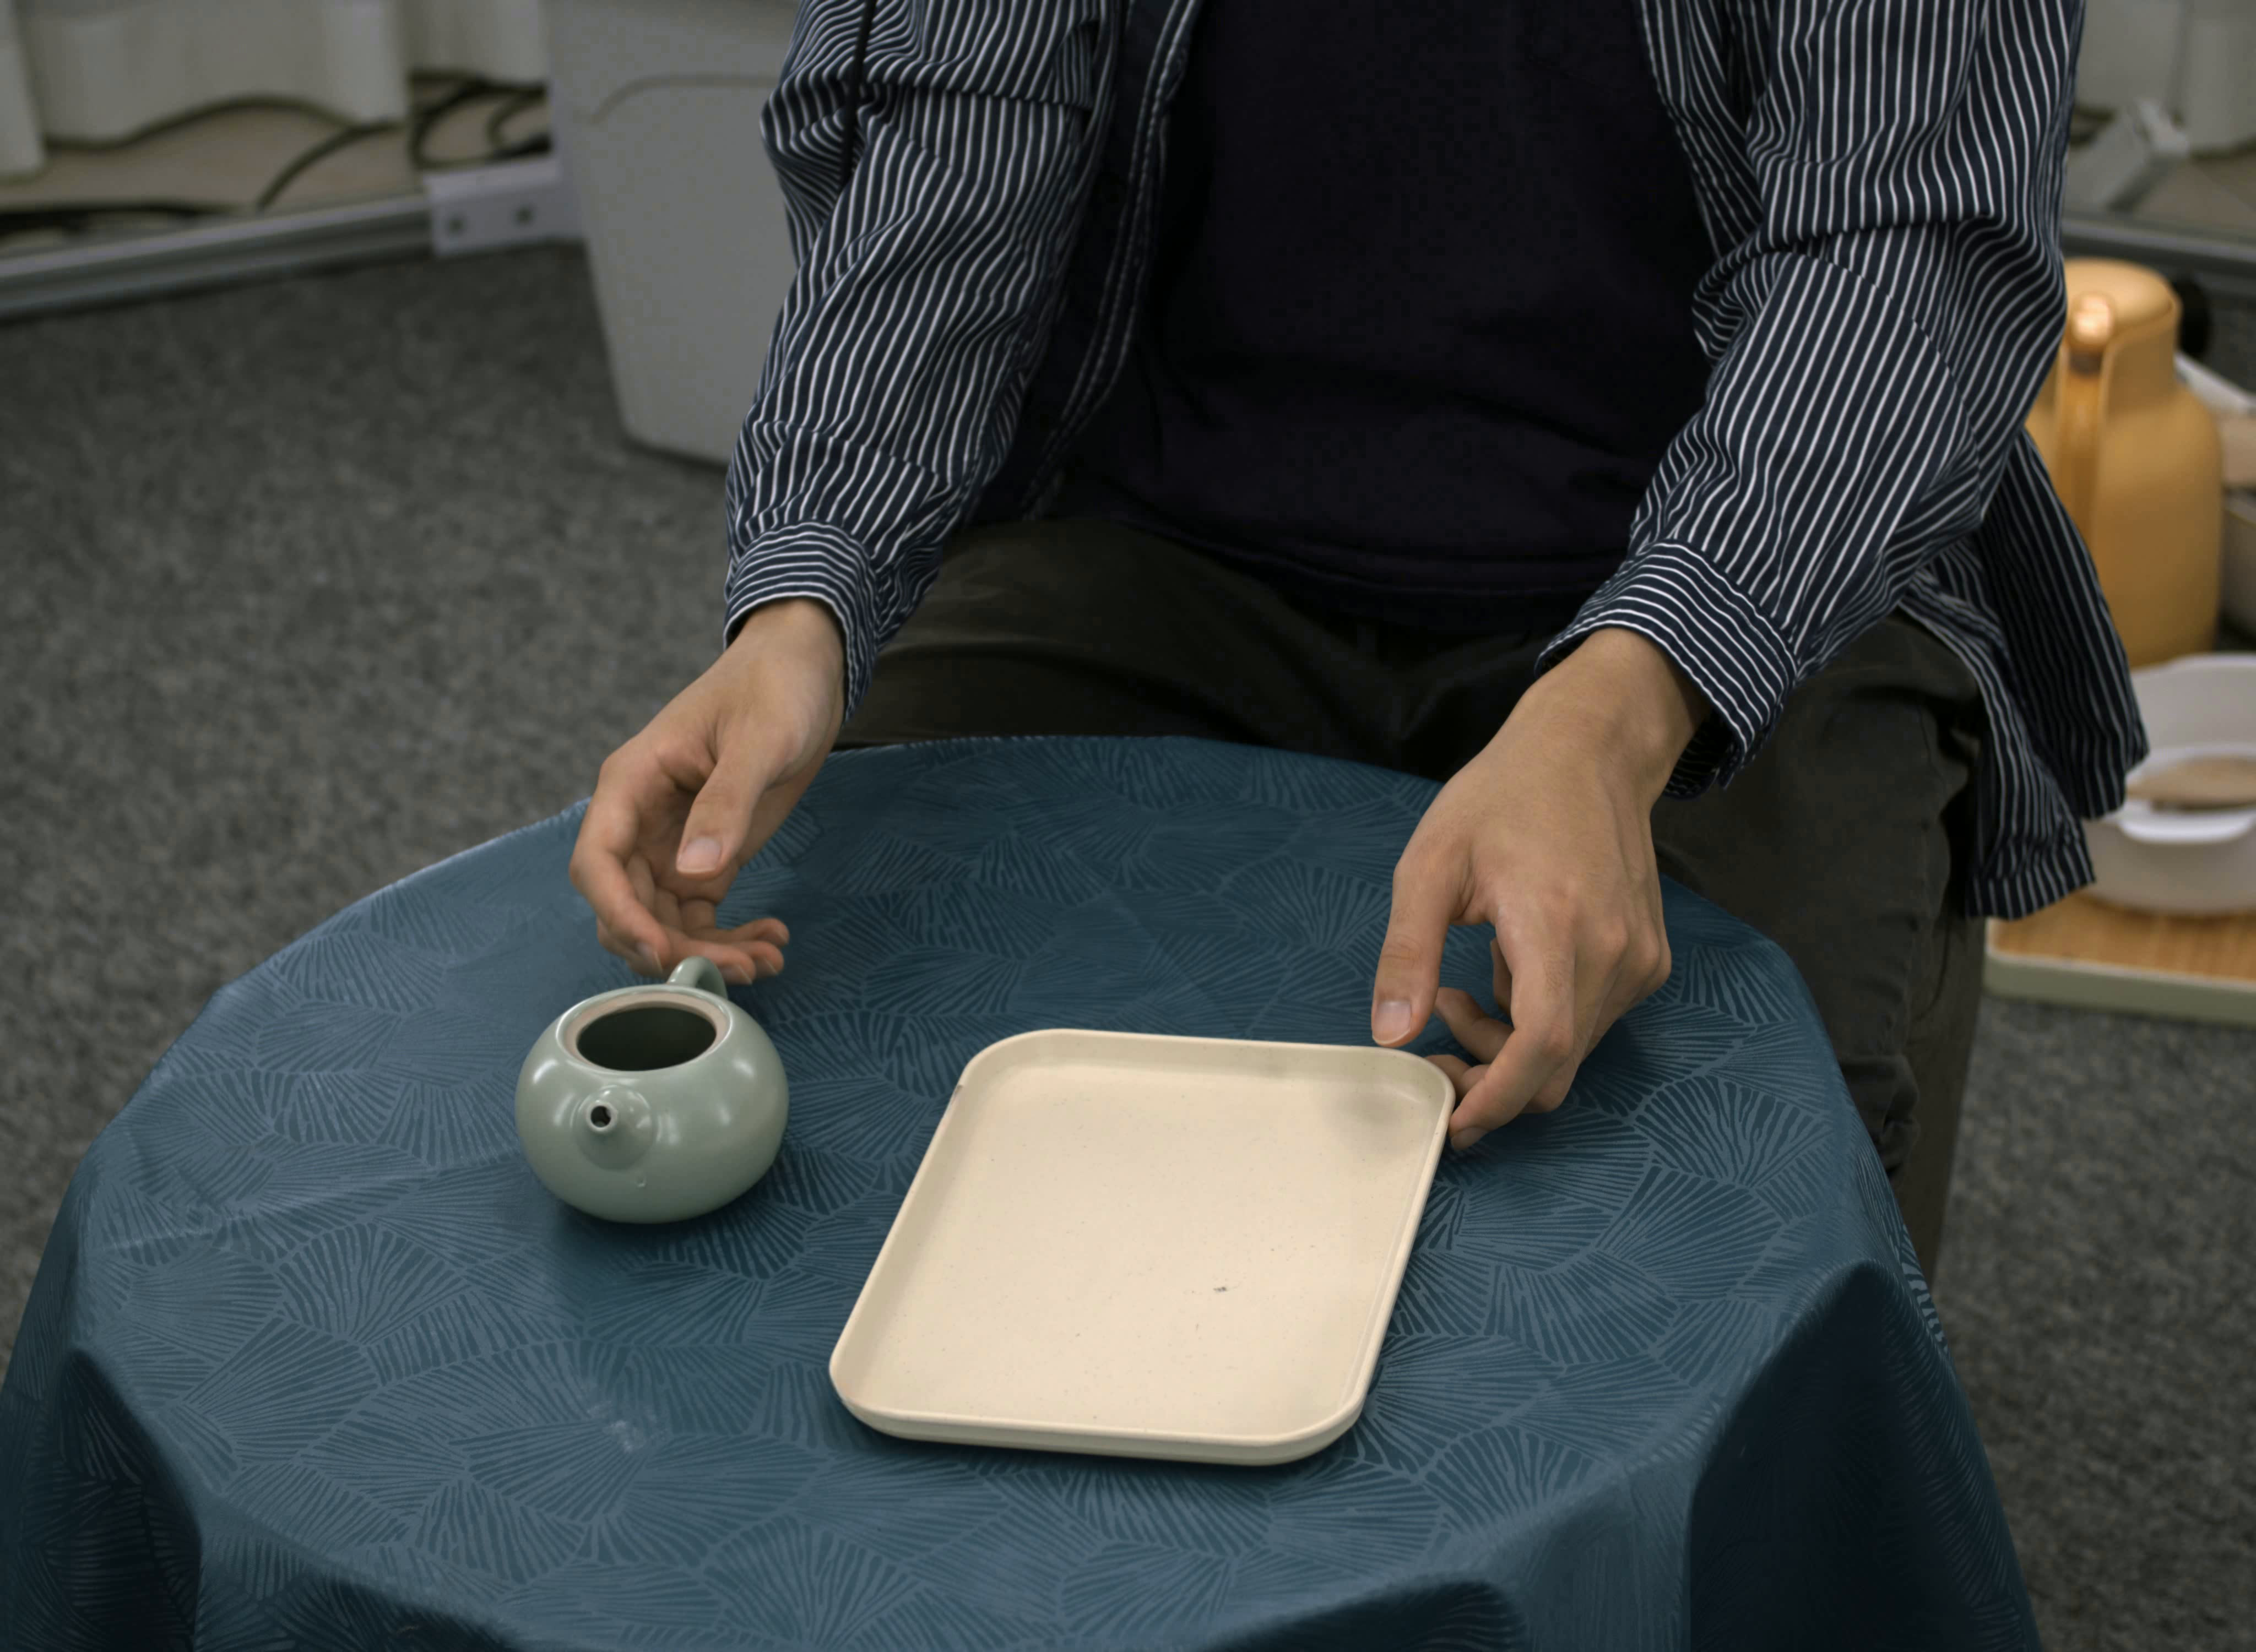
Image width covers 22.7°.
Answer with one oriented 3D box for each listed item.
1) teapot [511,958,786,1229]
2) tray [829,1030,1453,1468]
[{"bbox_3d":[-0.156,0.090,1.871,0.091,0.060,0.130,3,27,17],"label":"teapot"},{"bbox_3d":[0.008,0.135,1.810,0.170,0.017,0.244,4,28,11],"label":"tray"}]
